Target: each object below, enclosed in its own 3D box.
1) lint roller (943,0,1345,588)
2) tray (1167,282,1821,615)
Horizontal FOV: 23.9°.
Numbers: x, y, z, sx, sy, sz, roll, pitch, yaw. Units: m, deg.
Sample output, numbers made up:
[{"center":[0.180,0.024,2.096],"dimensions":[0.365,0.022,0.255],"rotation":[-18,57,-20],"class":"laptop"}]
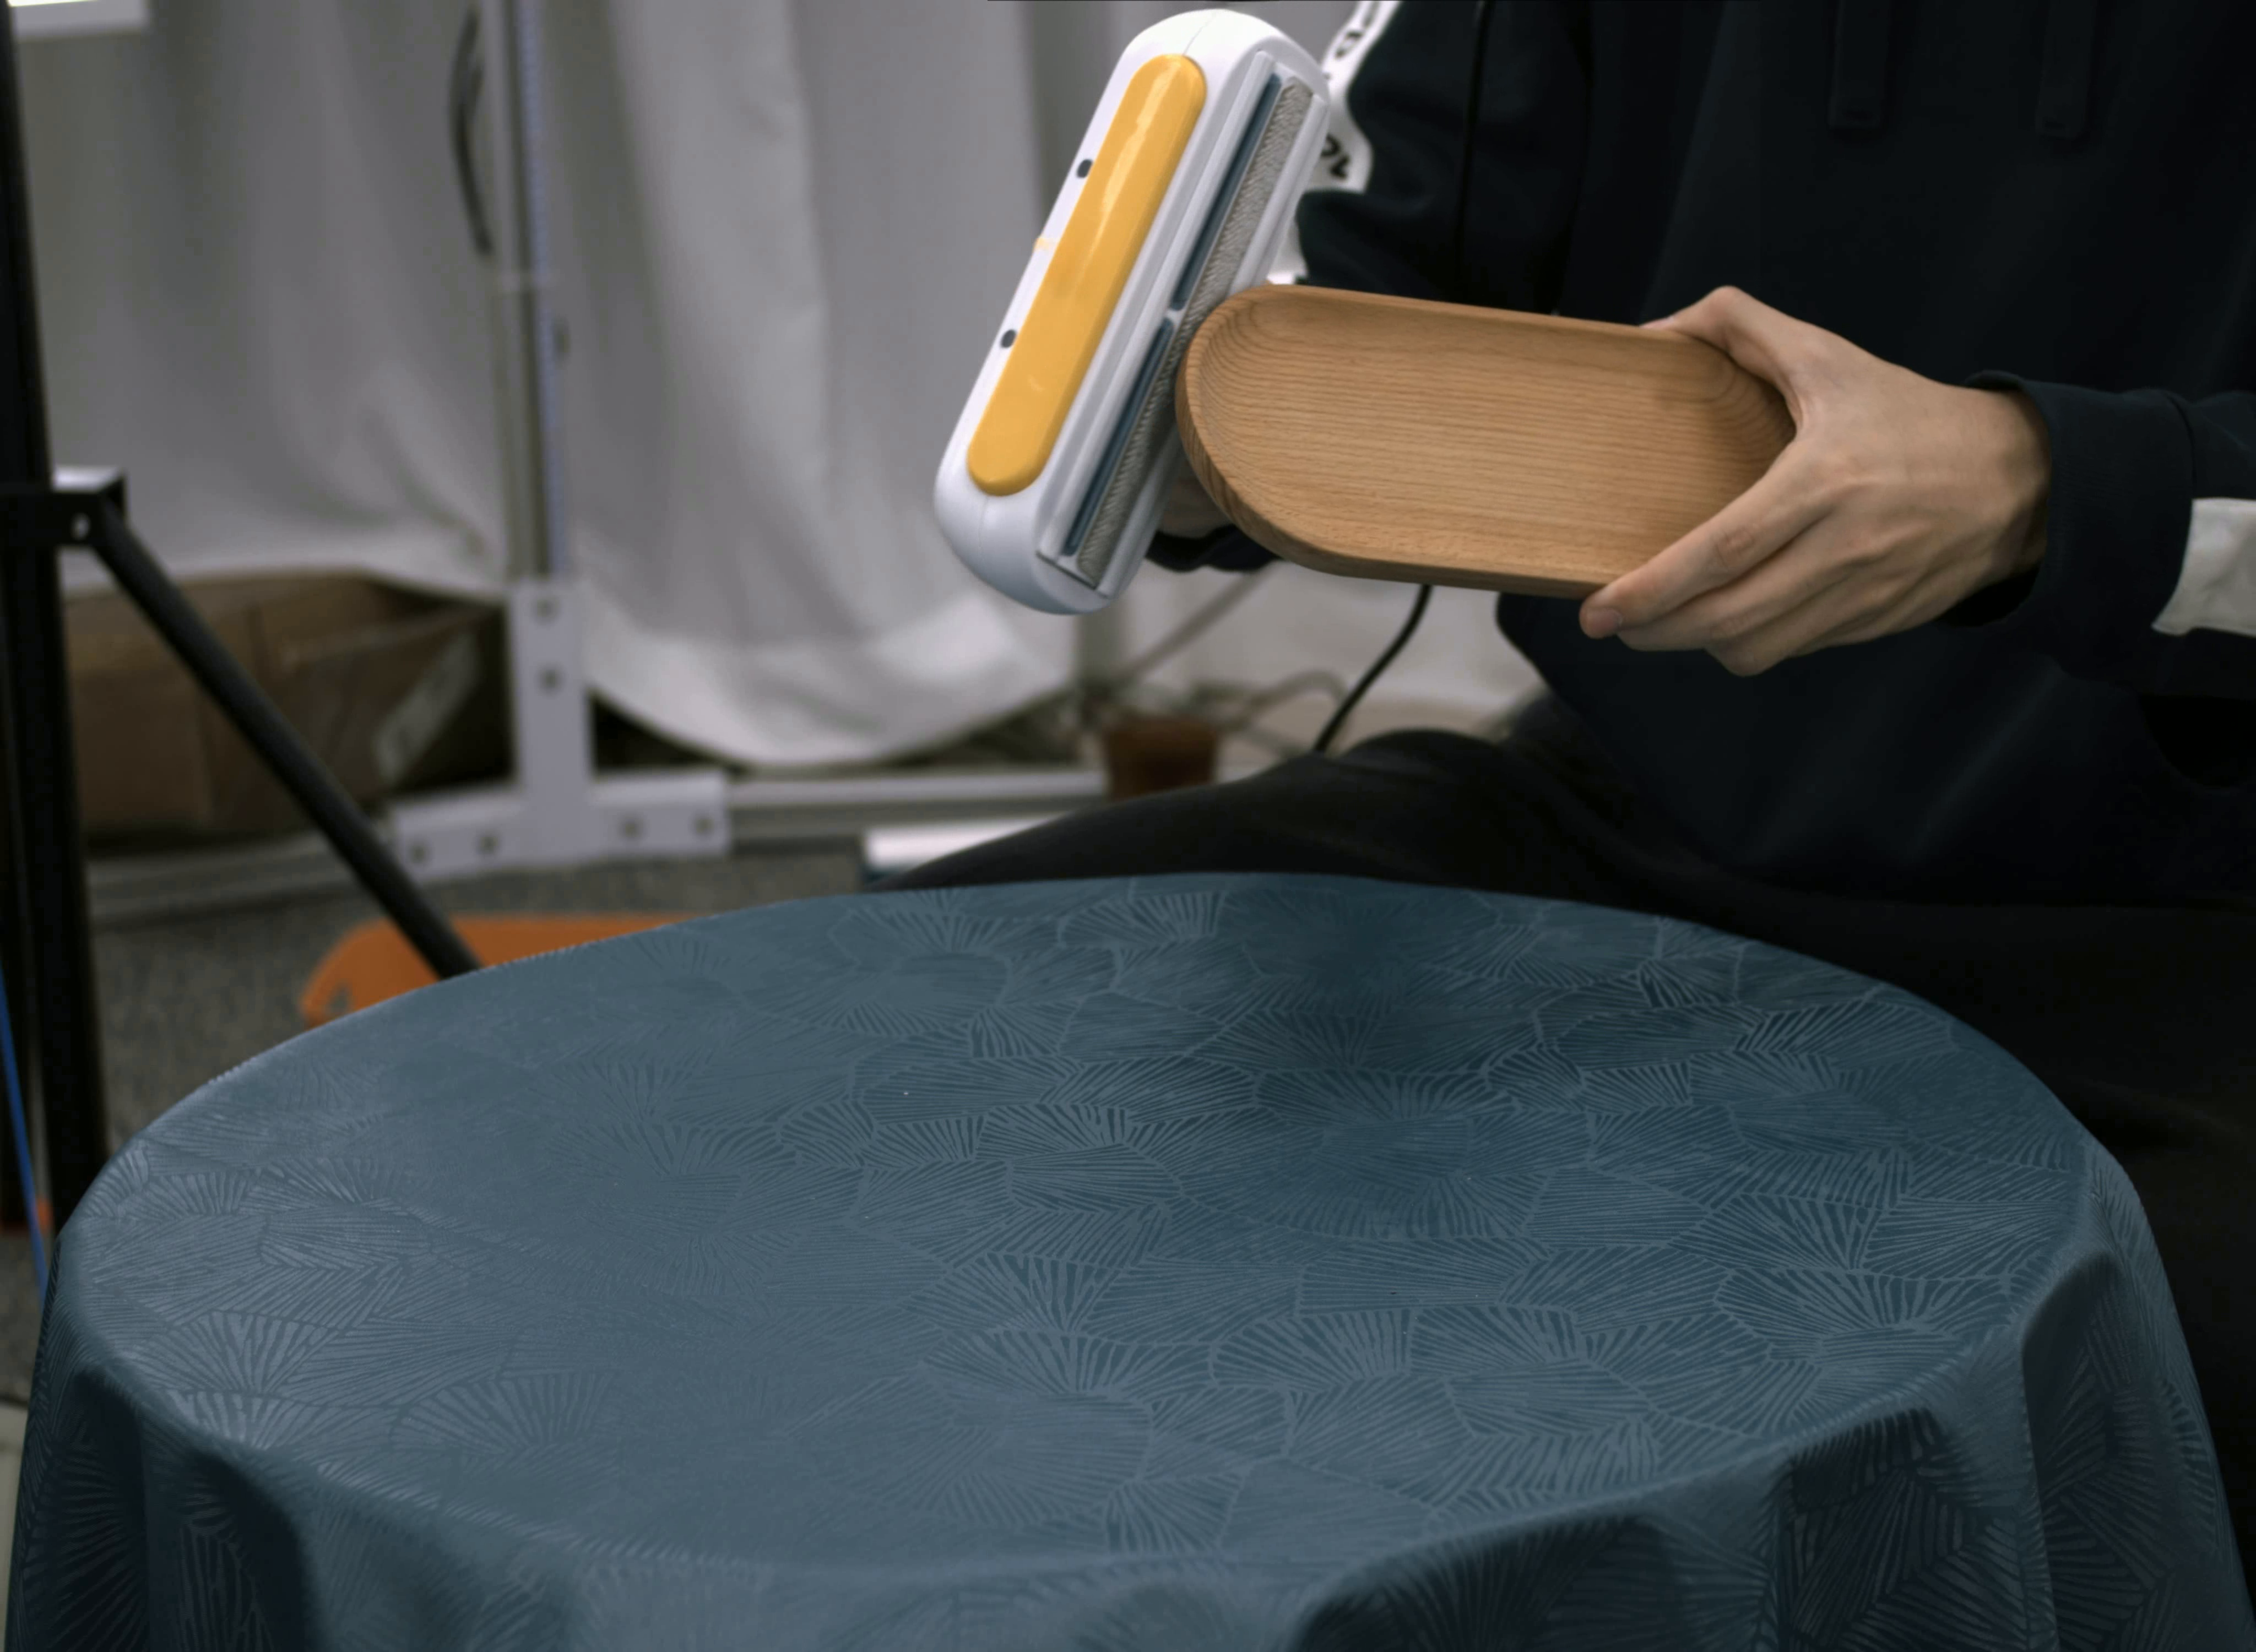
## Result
[{"center":[0.021,-0.148,1.687],"dimensions":[0.075,0.193,0.188],"rotation":[16,-12,29],"class":"lint roller"},{"center":[0.114,-0.114,1.639],"dimensions":[0.226,0.103,0.020],"rotation":[3,-32,-25],"class":"tray"}]
